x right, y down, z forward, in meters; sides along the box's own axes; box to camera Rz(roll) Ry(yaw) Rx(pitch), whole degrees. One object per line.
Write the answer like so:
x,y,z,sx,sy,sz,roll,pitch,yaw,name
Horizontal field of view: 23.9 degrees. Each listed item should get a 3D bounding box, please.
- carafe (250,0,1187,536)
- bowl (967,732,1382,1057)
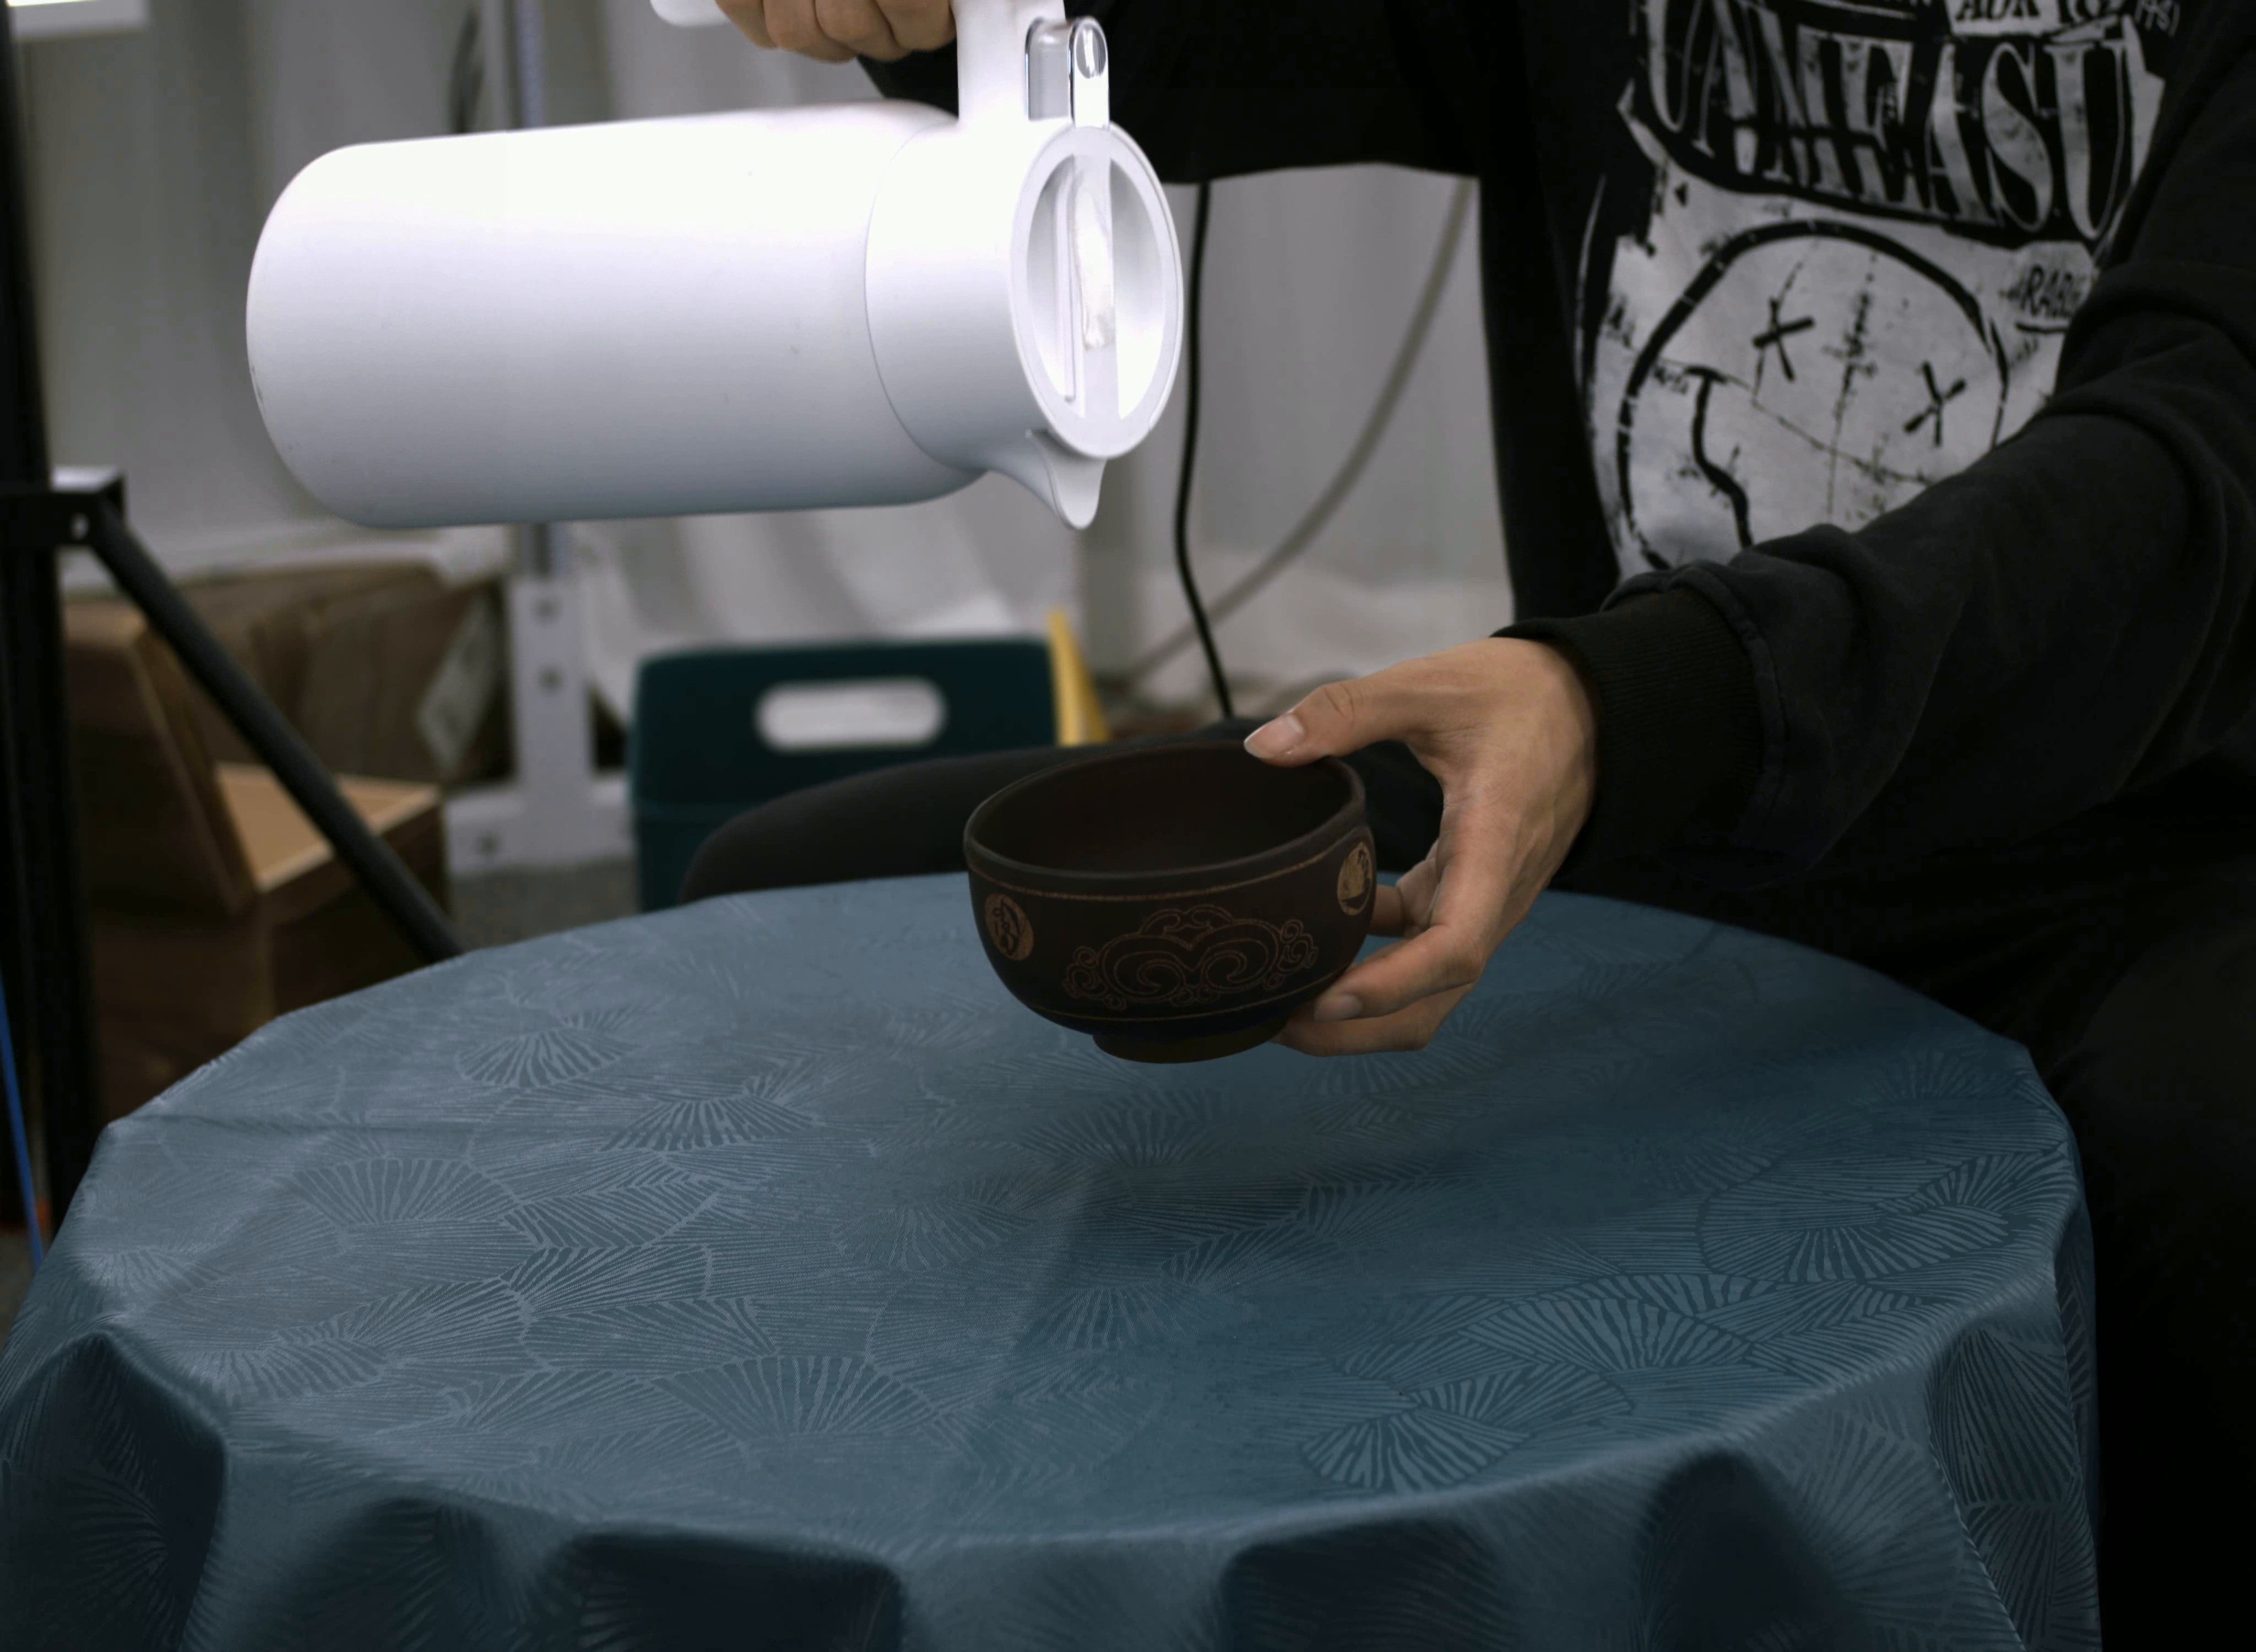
-0.122,-0.167,1.562,0.274,0.173,0.121,-1,4,34,carafe
0.015,0.024,1.519,0.117,0.070,0.119,-7,18,1,bowl
